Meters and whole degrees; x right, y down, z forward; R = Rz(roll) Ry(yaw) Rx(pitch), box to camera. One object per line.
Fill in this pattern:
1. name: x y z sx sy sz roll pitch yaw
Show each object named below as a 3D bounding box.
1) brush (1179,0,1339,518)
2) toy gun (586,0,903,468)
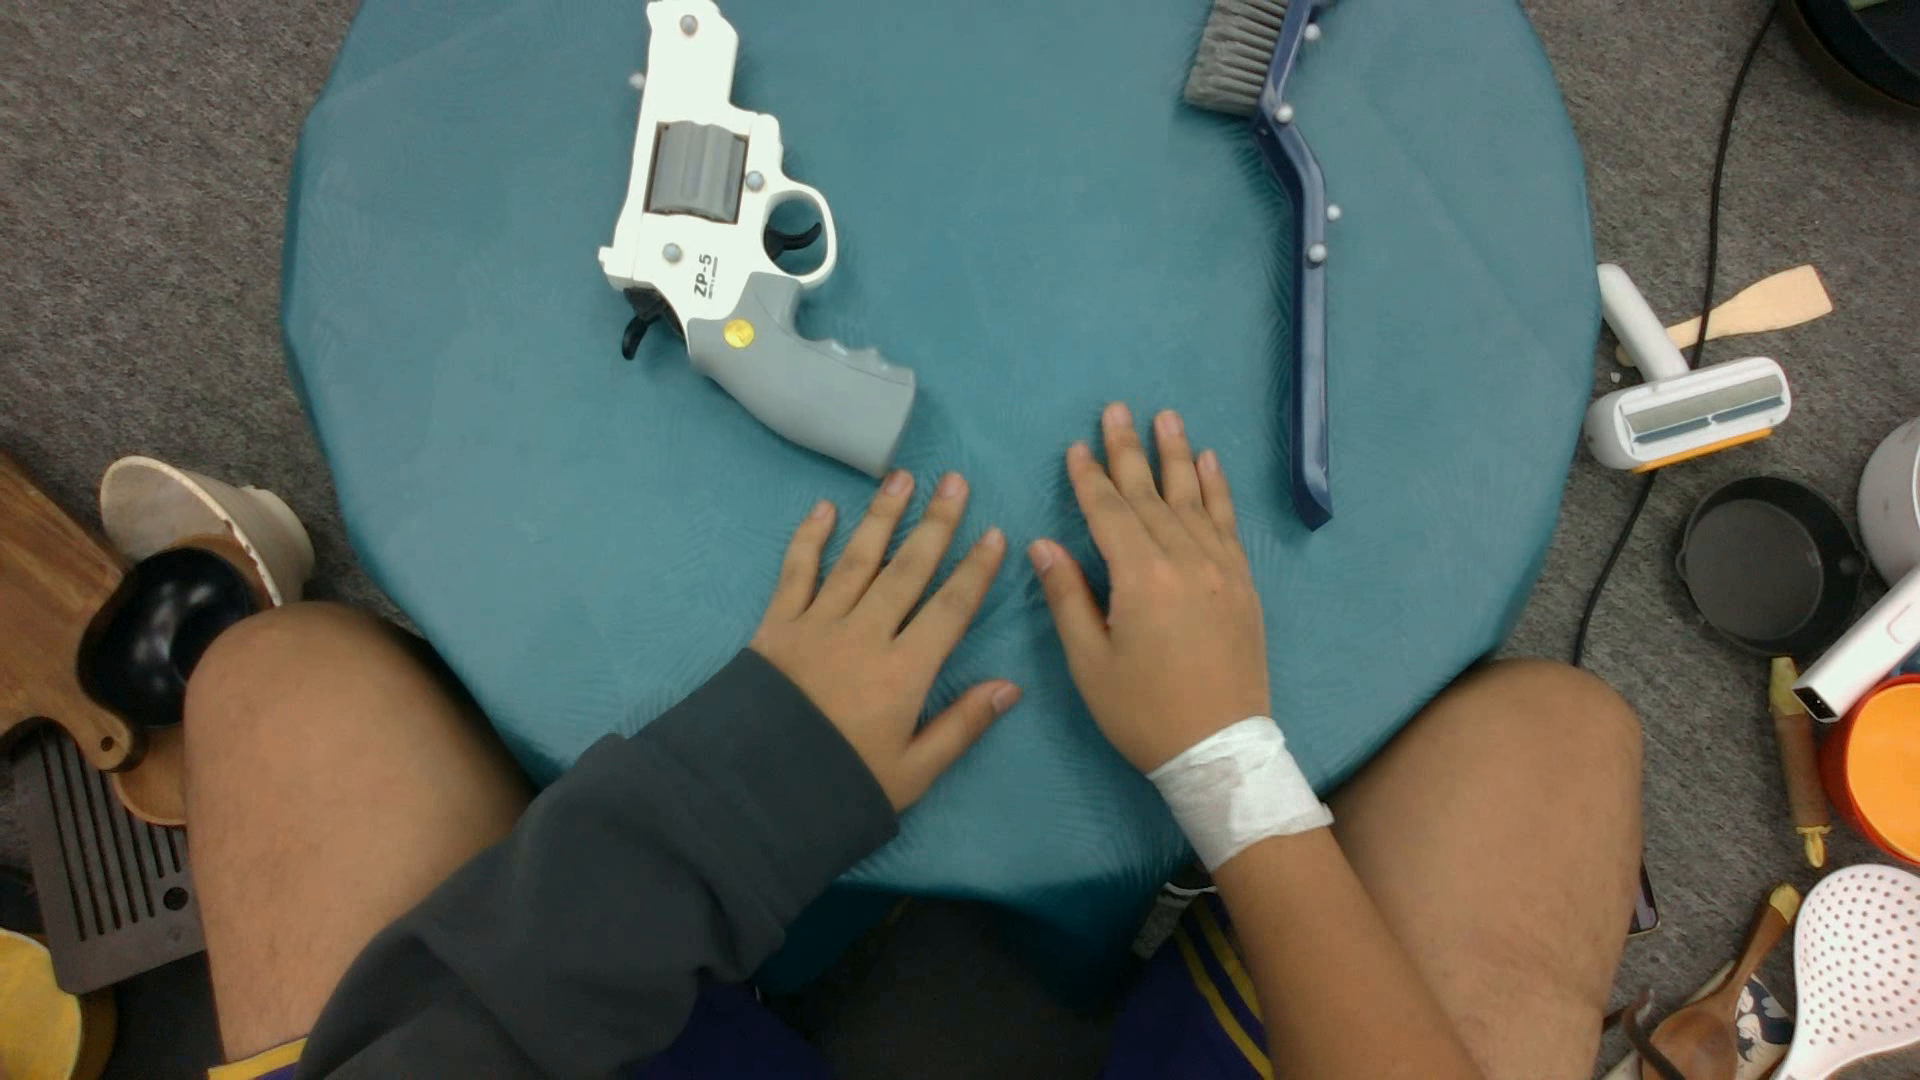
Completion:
1. brush: 0.158 -0.147 0.634 0.096 0.033 0.273 -5 79 -5
2. toy gun: -0.090 -0.140 0.613 0.141 0.039 0.209 6 79 -4
